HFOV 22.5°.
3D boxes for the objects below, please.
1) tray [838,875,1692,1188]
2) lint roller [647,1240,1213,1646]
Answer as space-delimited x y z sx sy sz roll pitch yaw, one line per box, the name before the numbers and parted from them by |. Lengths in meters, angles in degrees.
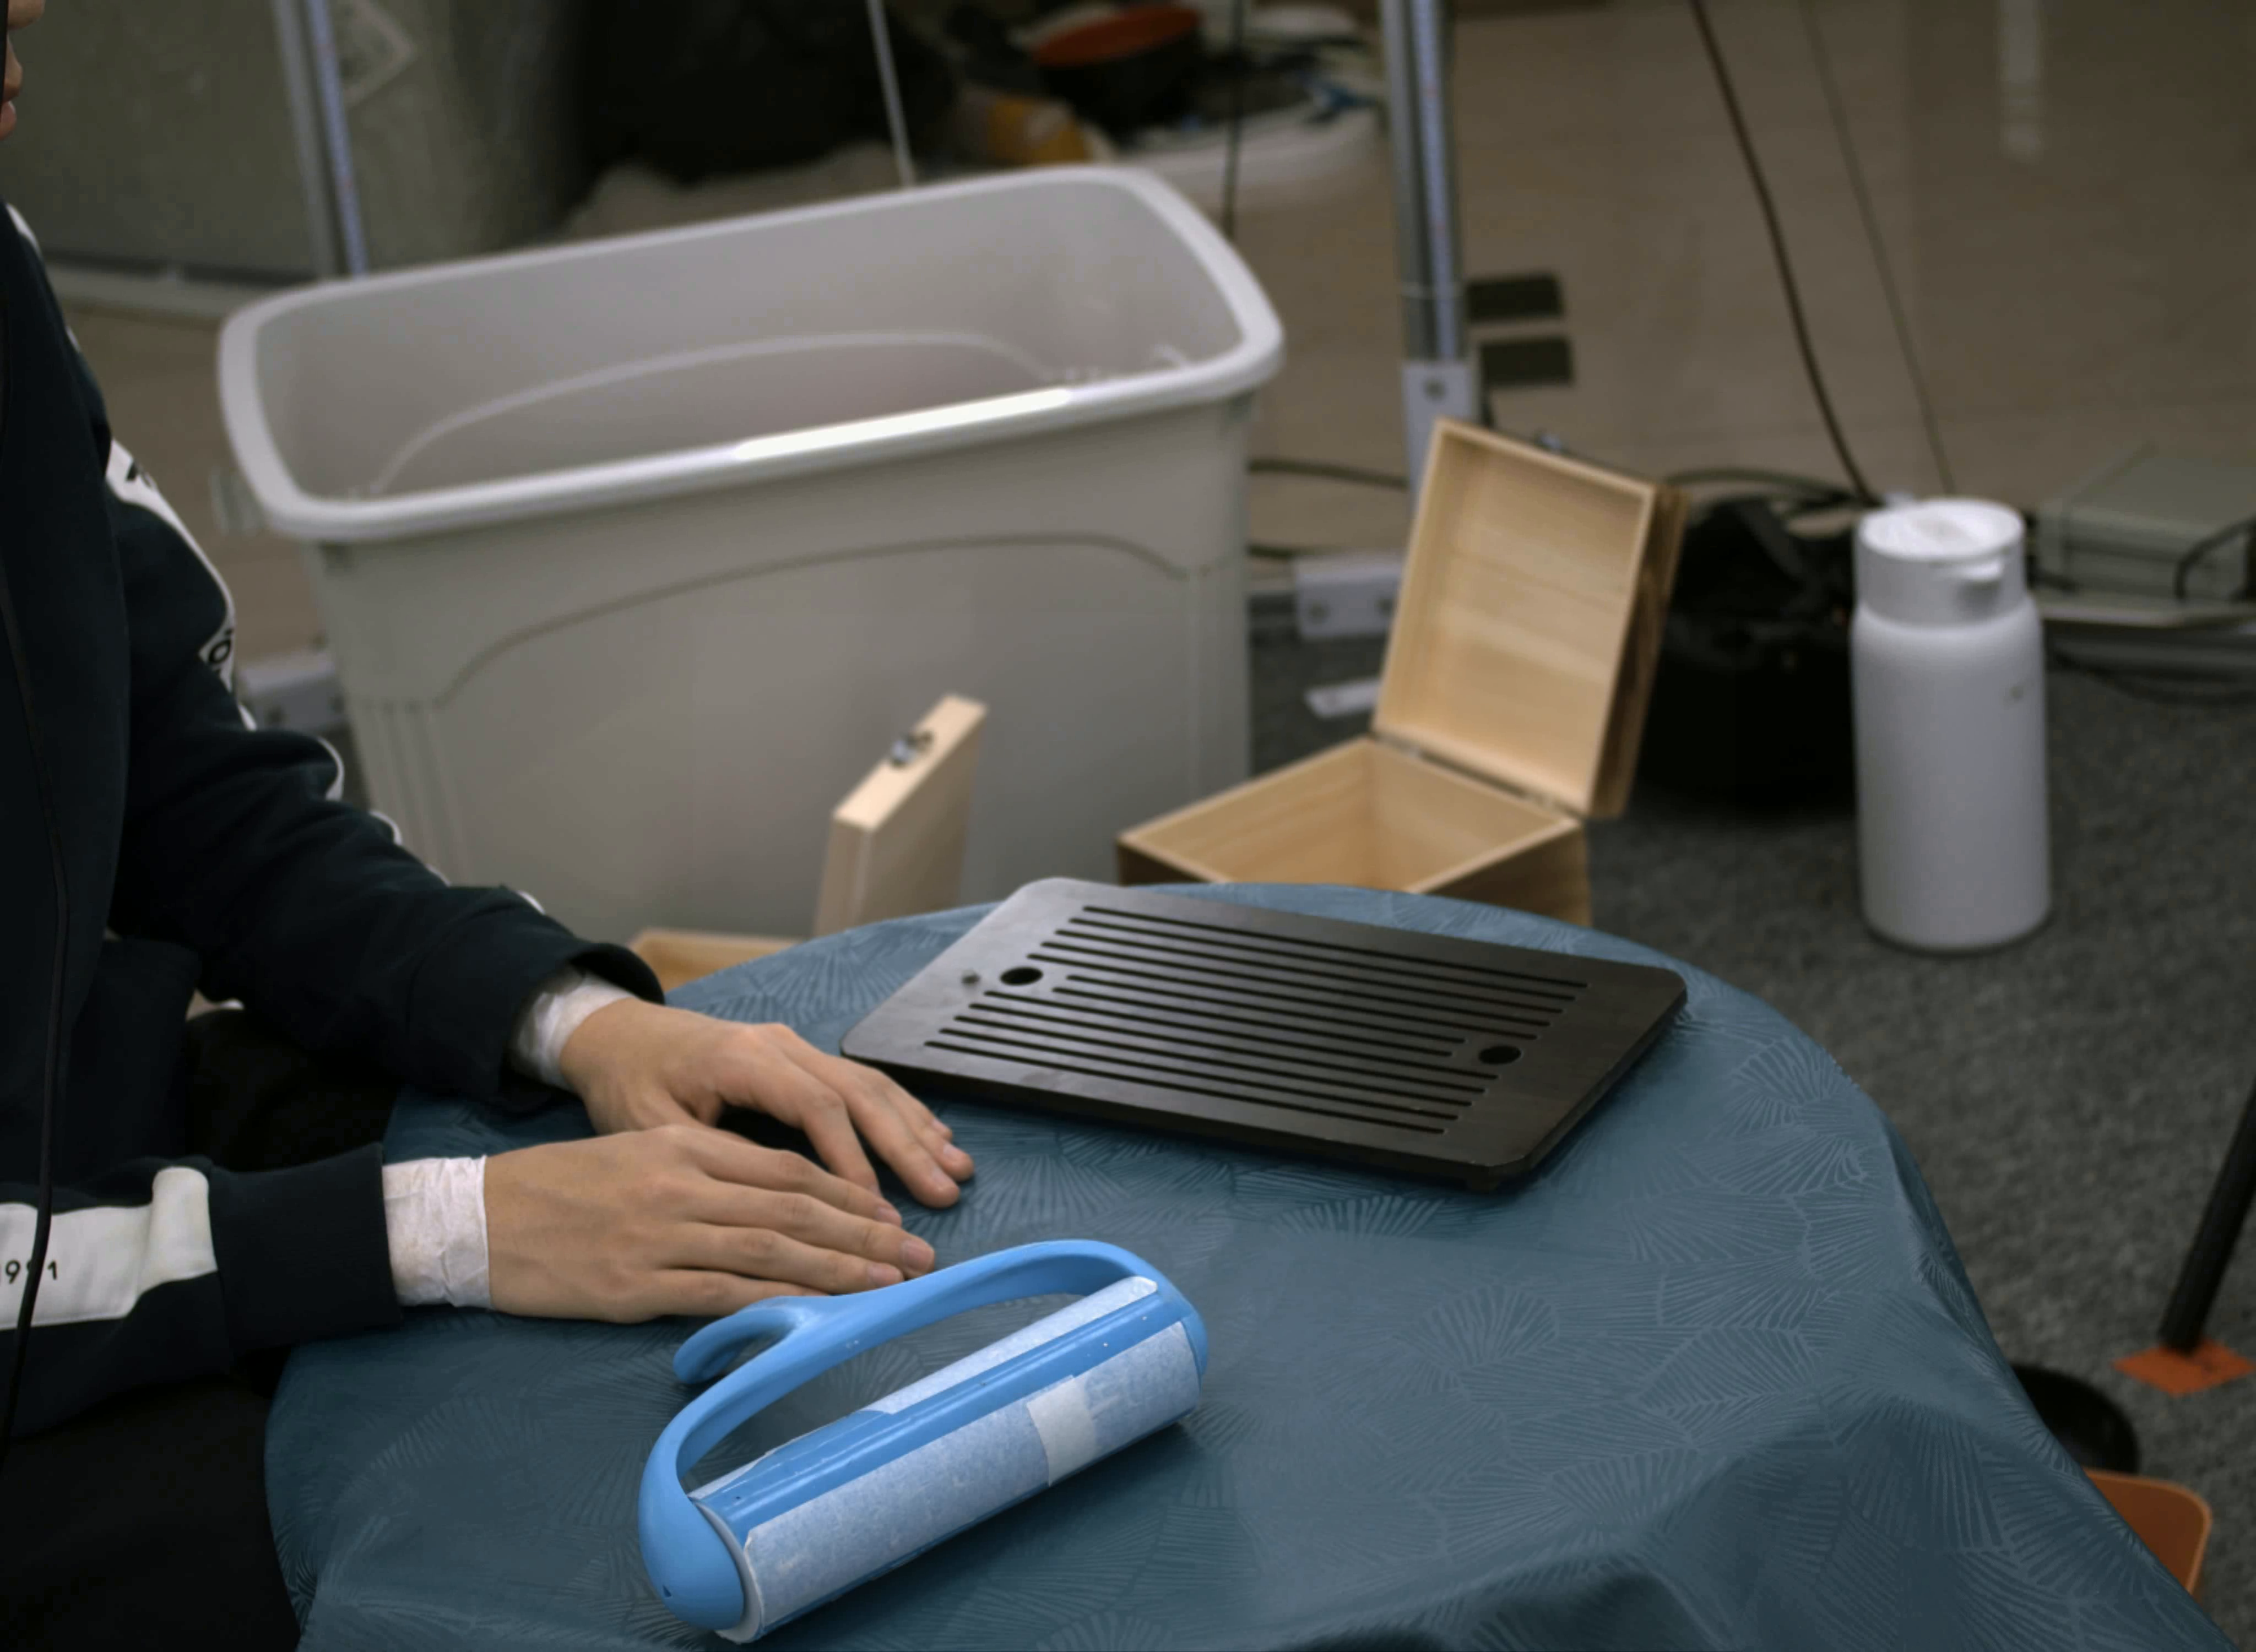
tray | 0.053 0.079 2.237 0.304 0.019 0.168 8 29 29
lint roller | -0.103 0.197 1.974 0.227 0.069 0.178 -28 34 -34
